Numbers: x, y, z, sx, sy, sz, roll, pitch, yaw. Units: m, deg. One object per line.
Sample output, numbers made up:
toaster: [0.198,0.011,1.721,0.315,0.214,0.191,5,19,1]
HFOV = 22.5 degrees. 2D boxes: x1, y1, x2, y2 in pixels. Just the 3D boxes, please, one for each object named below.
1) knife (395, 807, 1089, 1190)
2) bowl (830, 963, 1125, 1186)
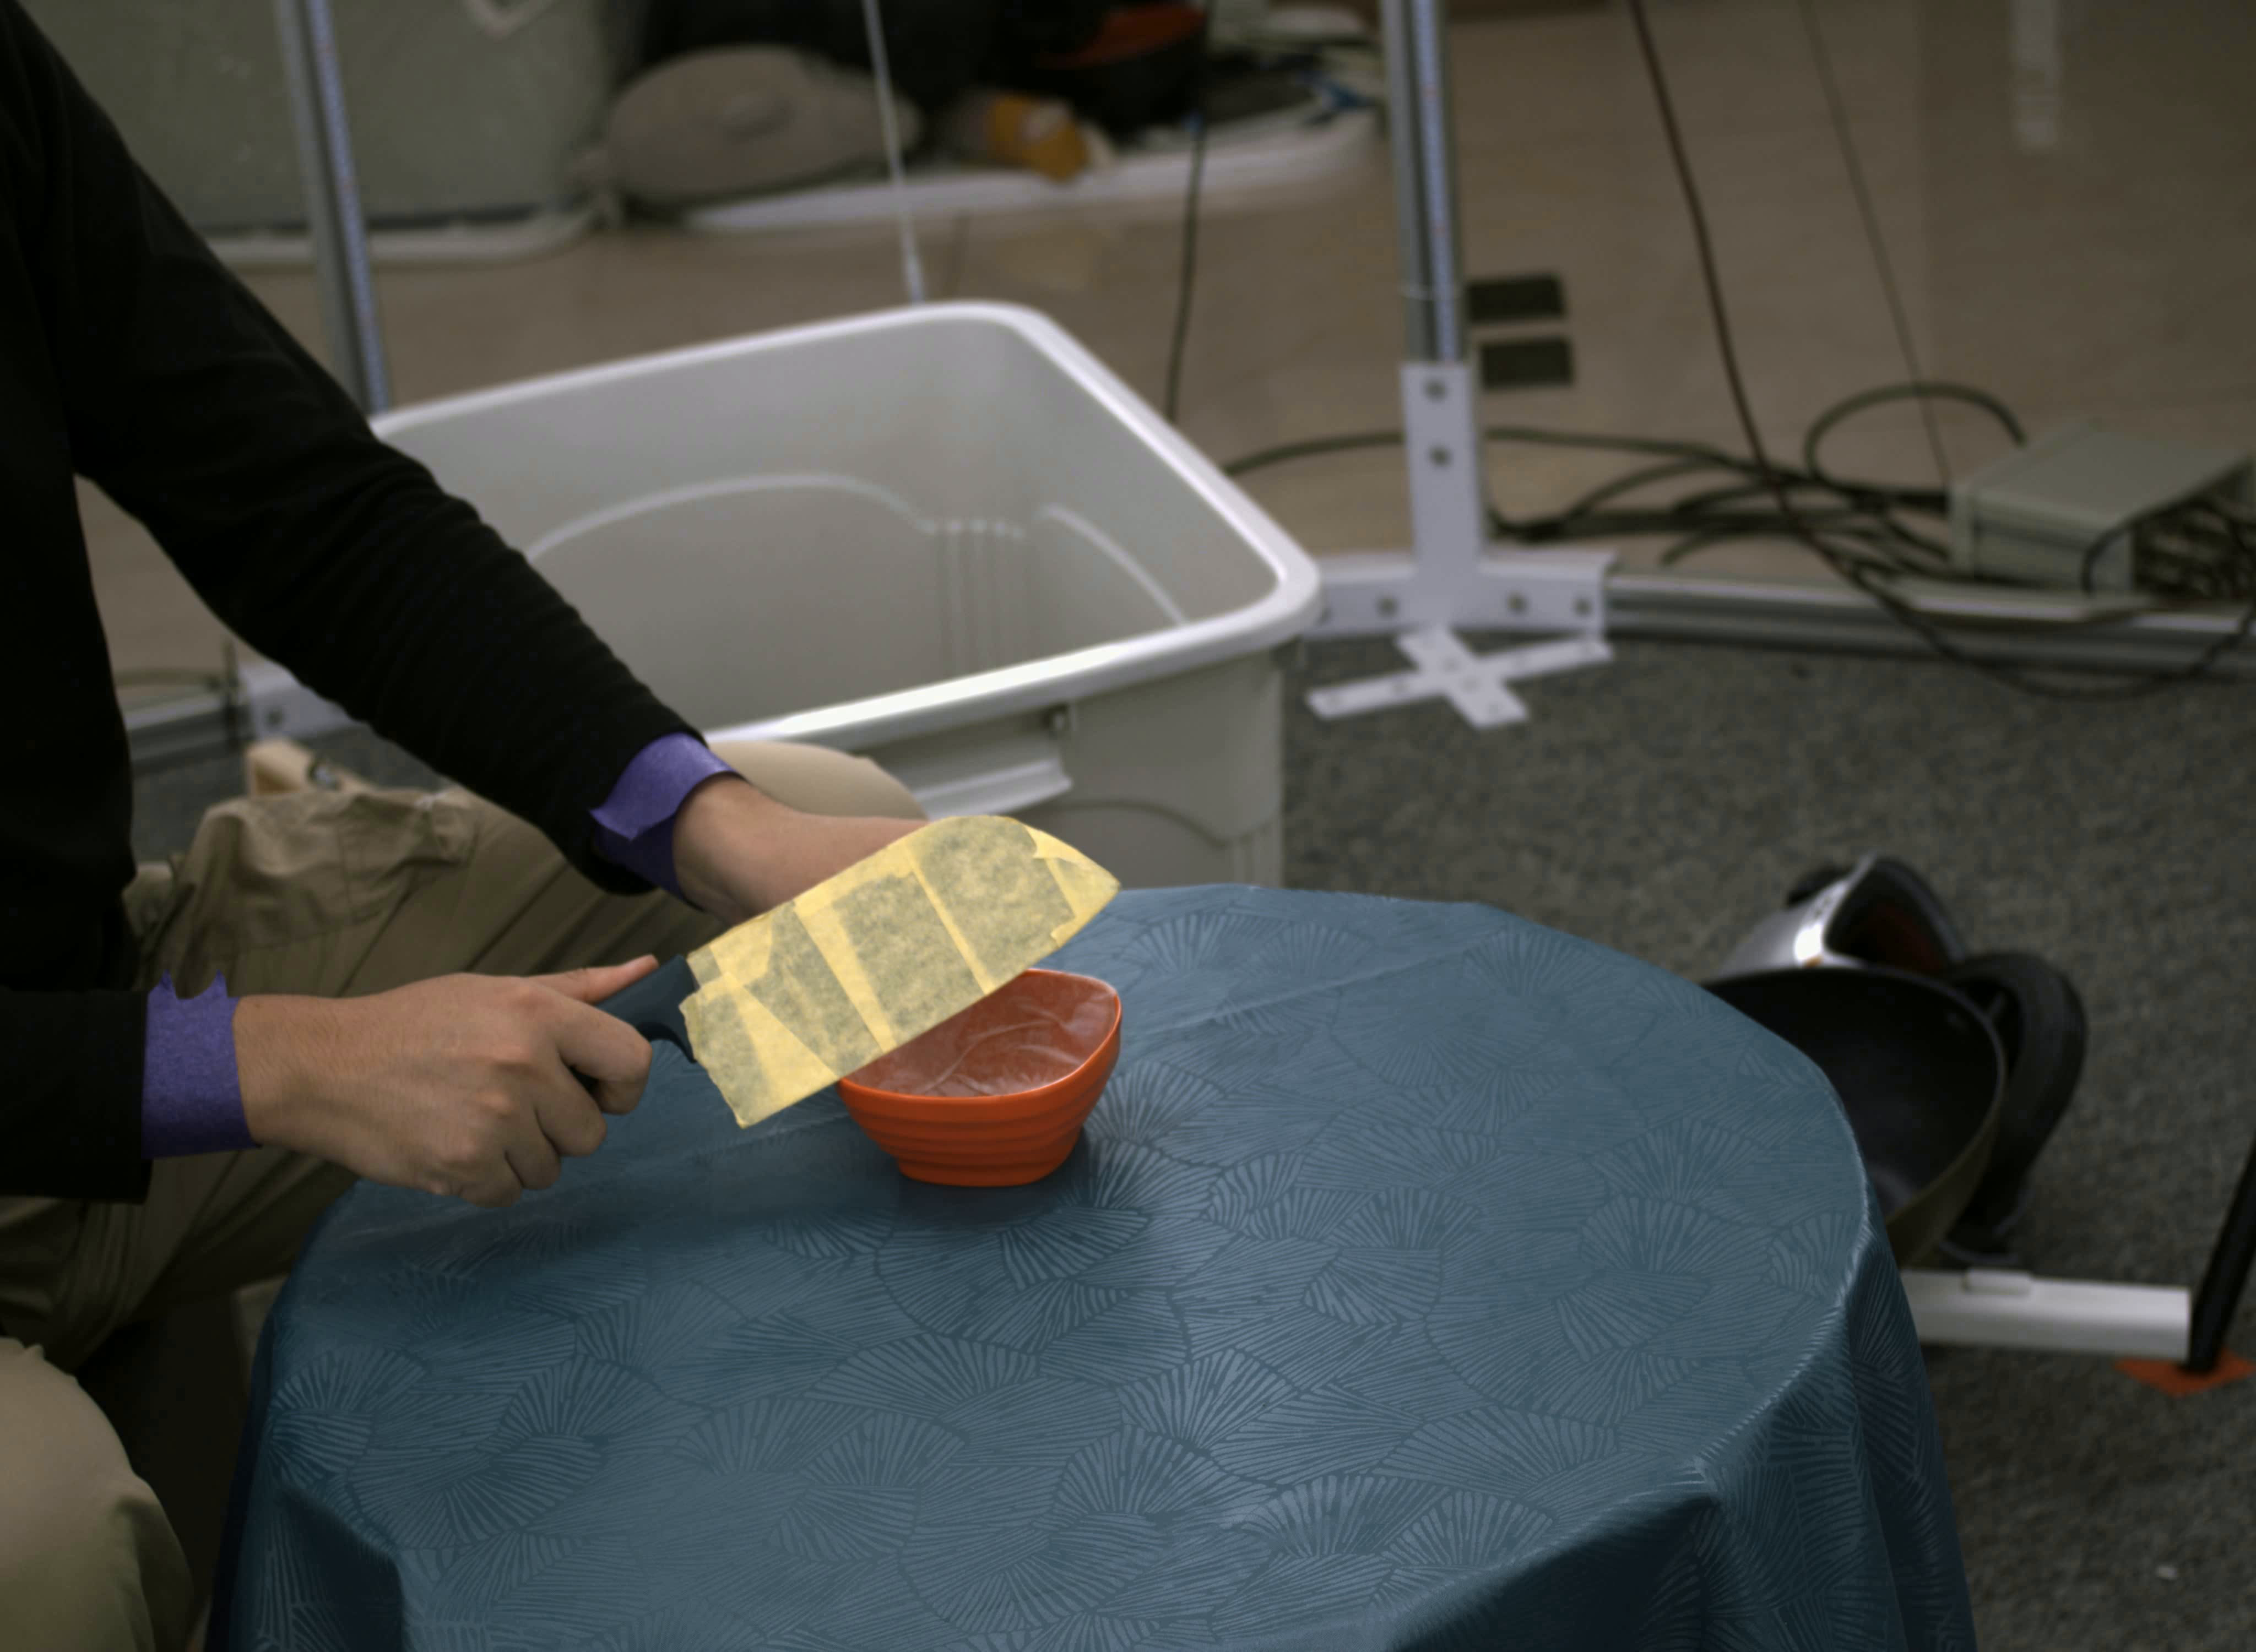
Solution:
knife: [-0.144,0.073,2.162,0.289,0.027,0.080,-27,71,-4]
bowl: [-0.055,0.100,2.184,0.119,0.052,0.117,-5,27,2]
